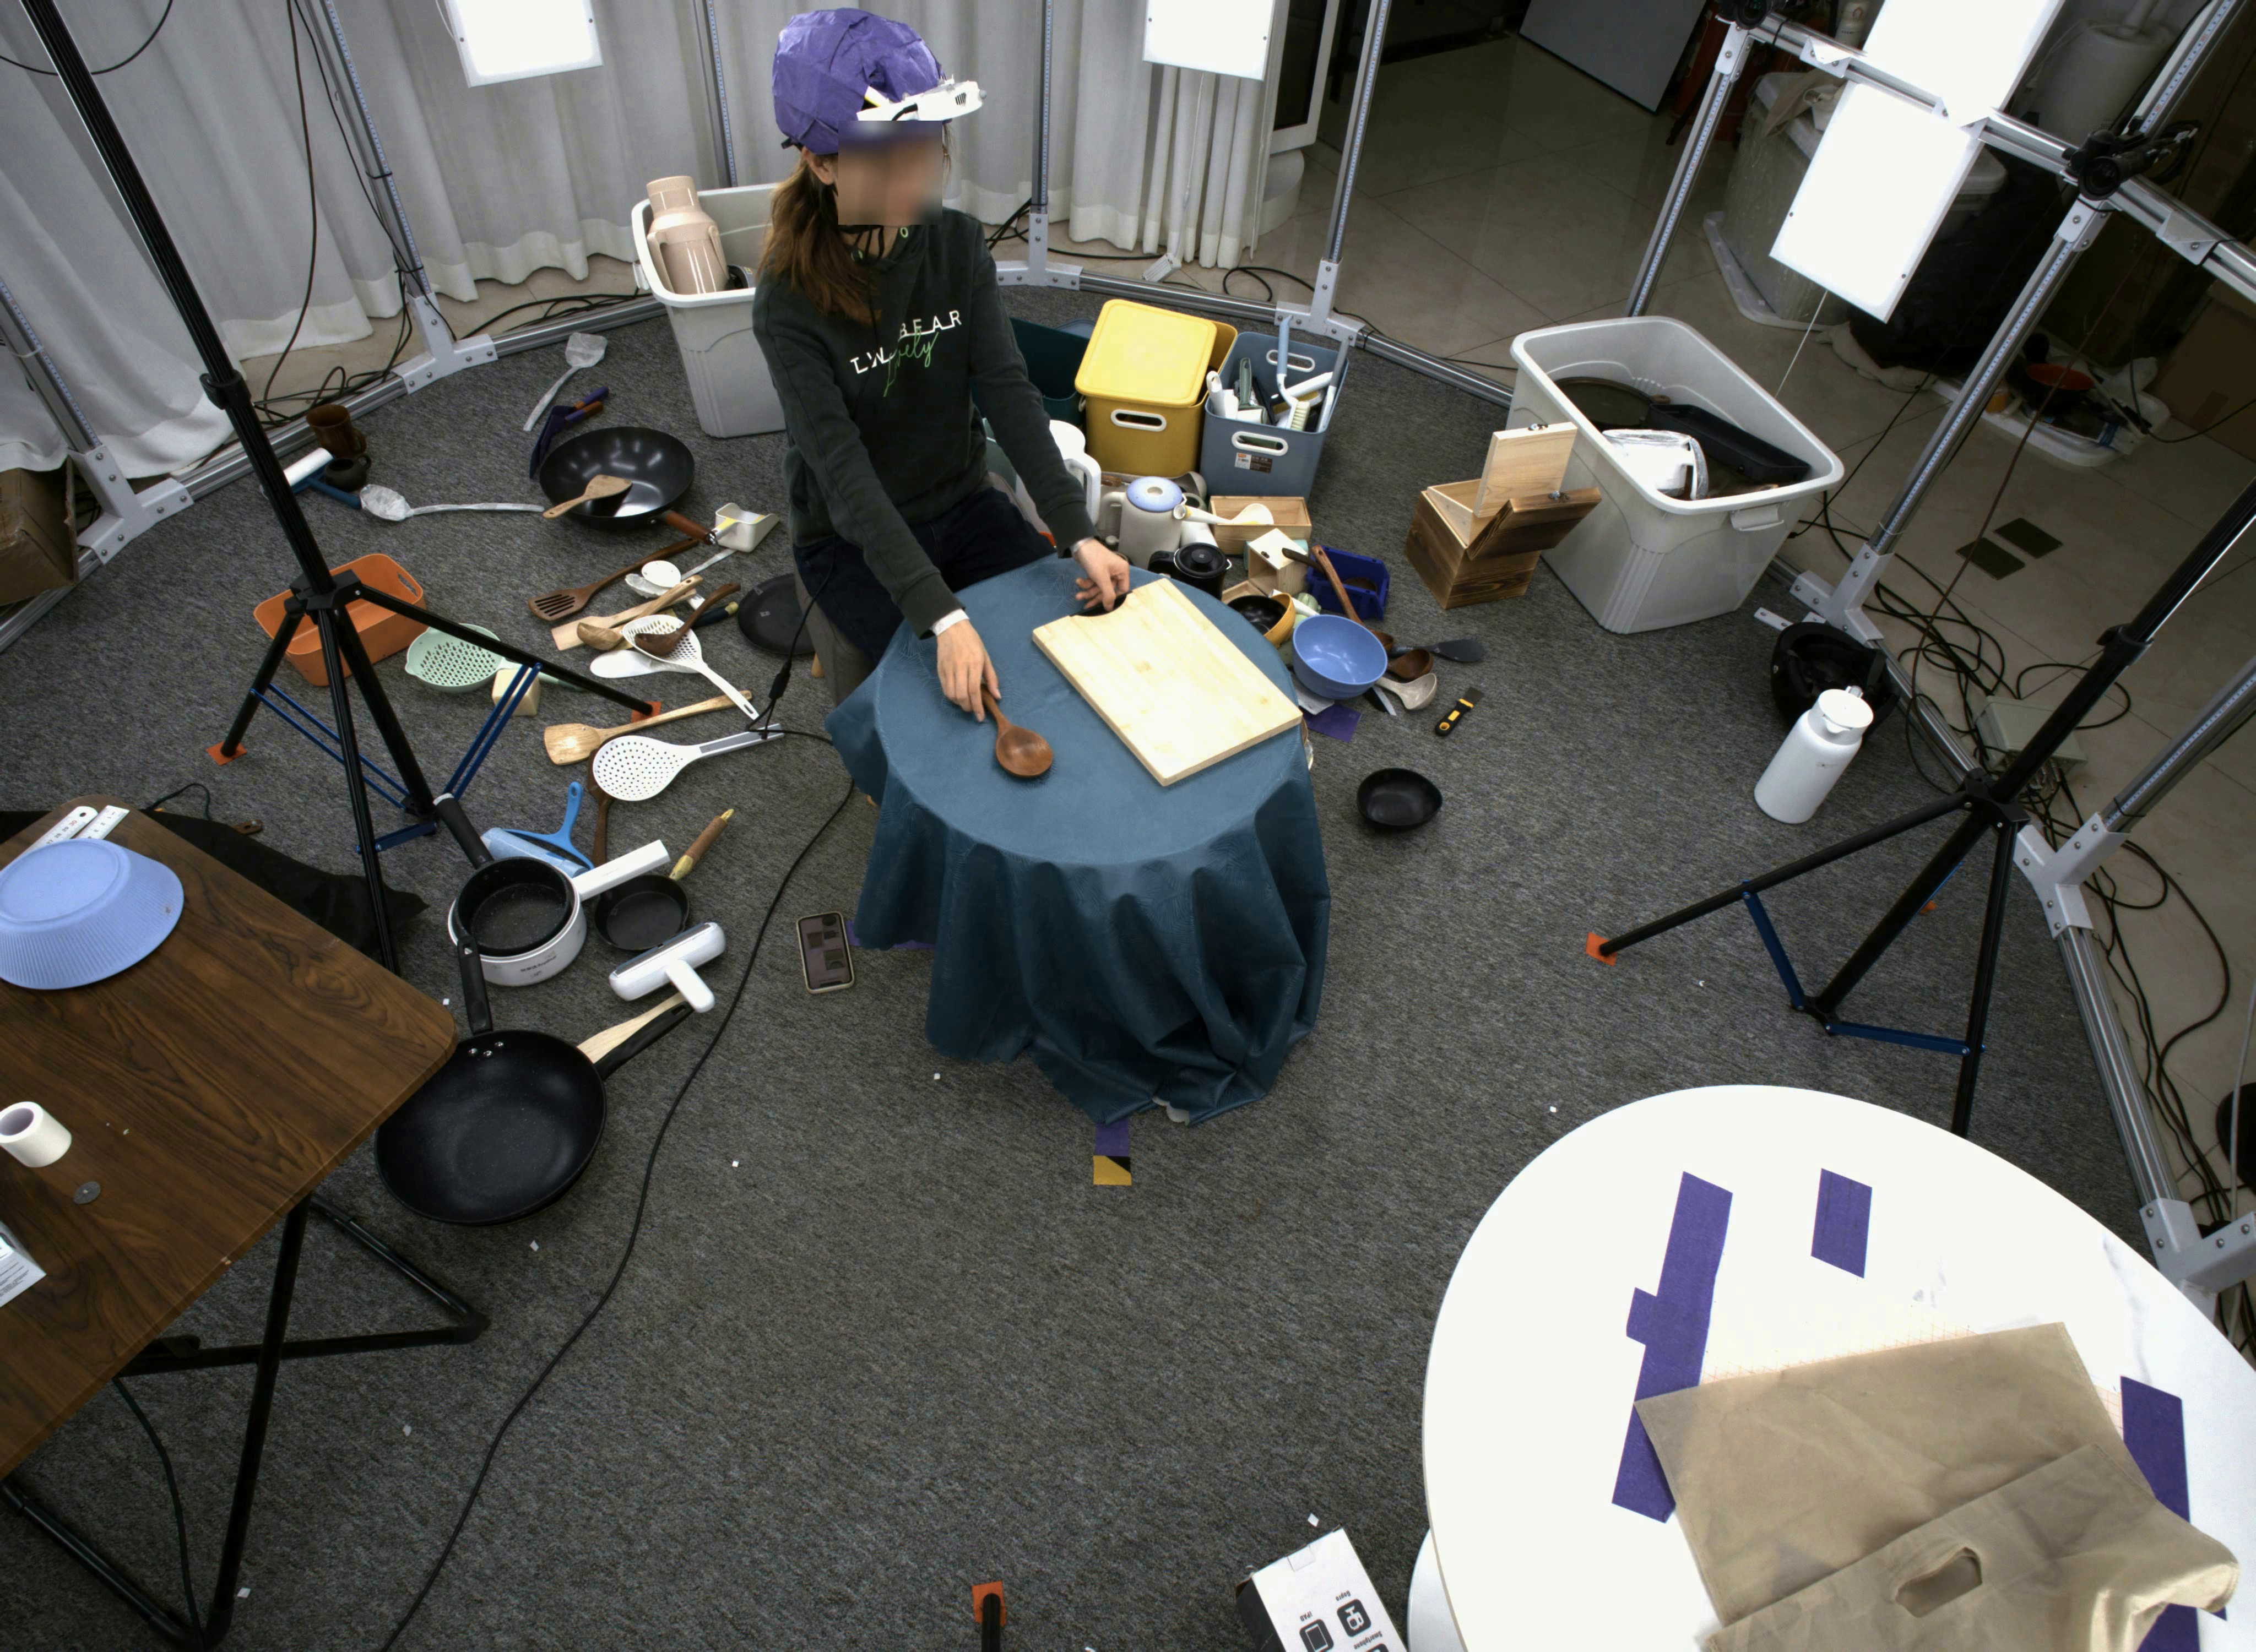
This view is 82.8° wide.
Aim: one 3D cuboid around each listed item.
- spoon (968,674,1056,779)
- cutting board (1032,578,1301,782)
[{"bbox_3d":[-0.169,-0.140,1.783,0.075,0.017,0.220,-22,54,-19],"label":"spoon"},{"bbox_3d":[0.051,-0.221,1.870,0.252,0.023,0.355,-25,55,-24],"label":"cutting board"}]
